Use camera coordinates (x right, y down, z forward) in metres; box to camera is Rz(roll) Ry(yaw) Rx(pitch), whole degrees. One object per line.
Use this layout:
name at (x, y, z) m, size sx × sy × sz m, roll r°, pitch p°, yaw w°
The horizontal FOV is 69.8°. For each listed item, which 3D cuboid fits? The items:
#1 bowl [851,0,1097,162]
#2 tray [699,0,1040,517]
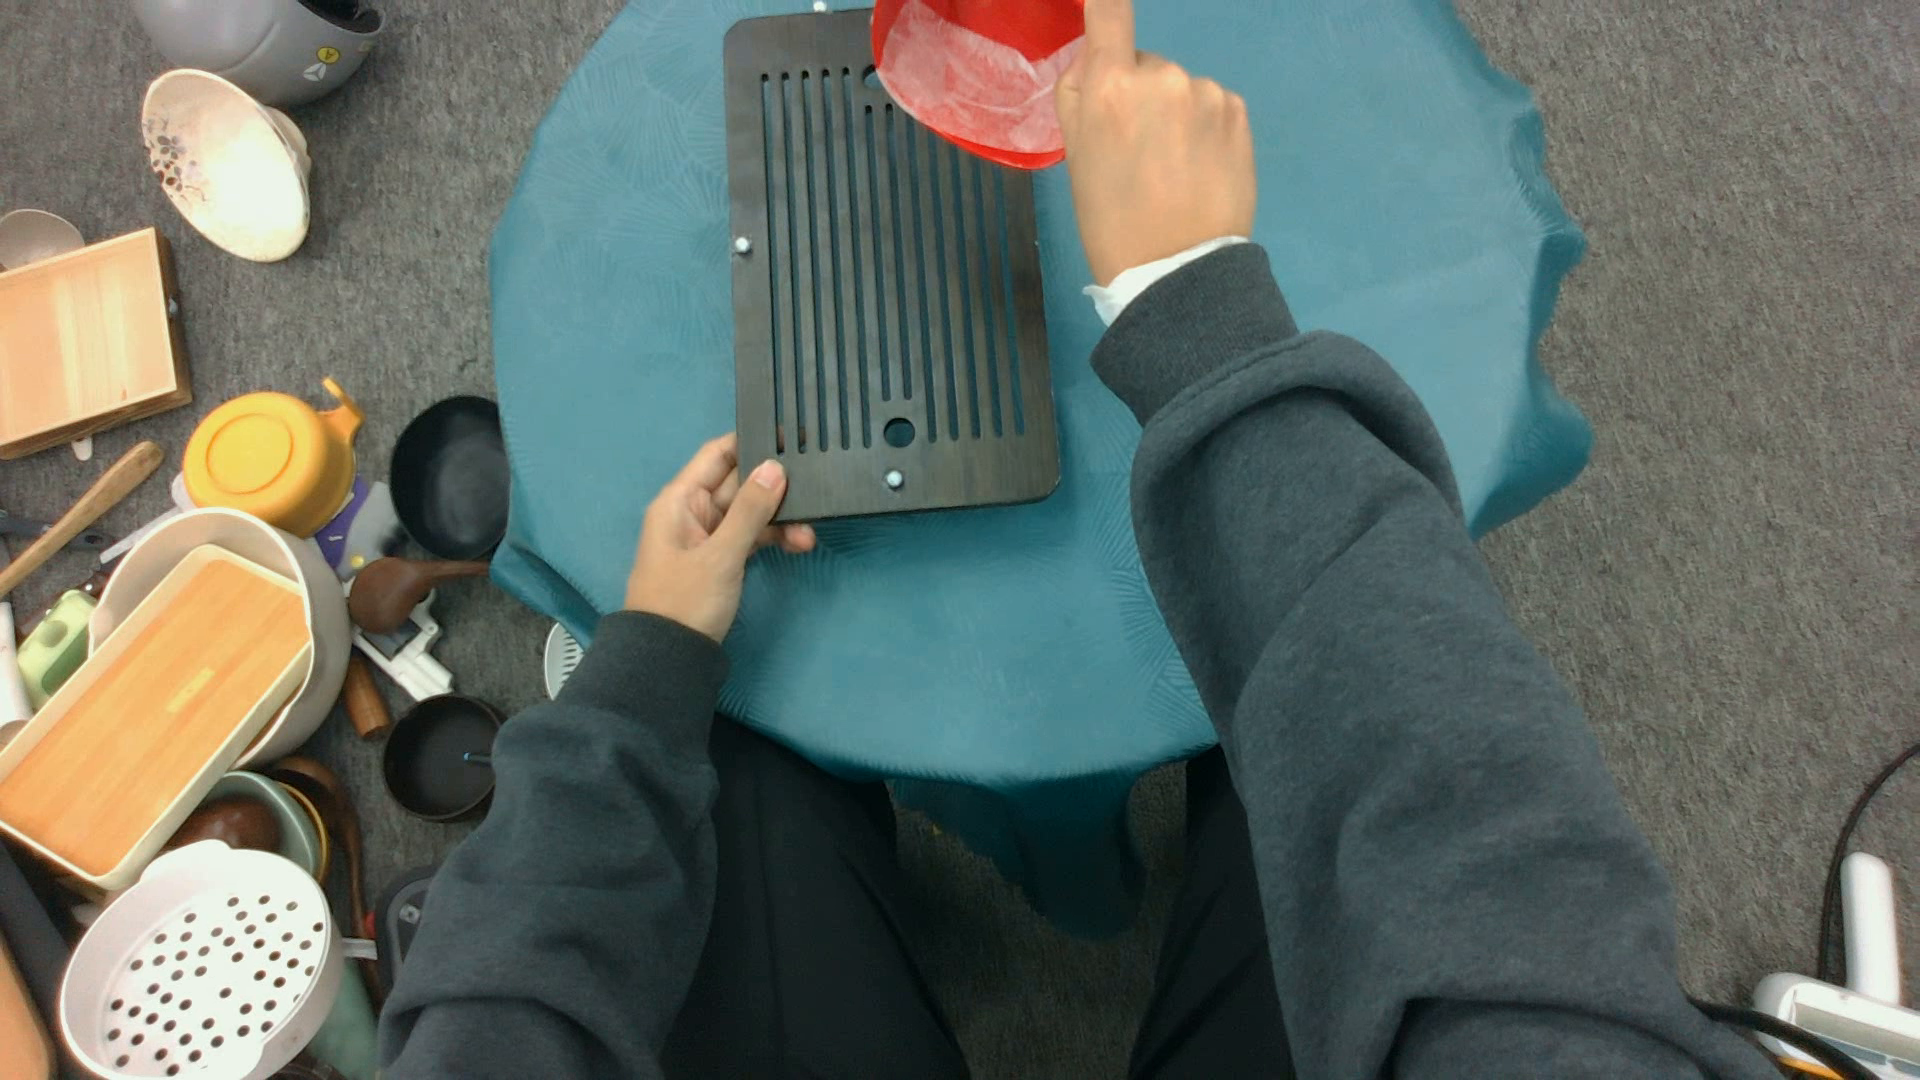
bowl at (0.012, -0.232, 0.616) m, size 0.119 × 0.118 × 0.051 m, roll 20°, pitch 59°, yaw 10°
tray at (-0.054, -0.163, 0.759) m, size 0.170 × 0.018 × 0.306 m, roll -5°, pitch 73°, yaw 0°
